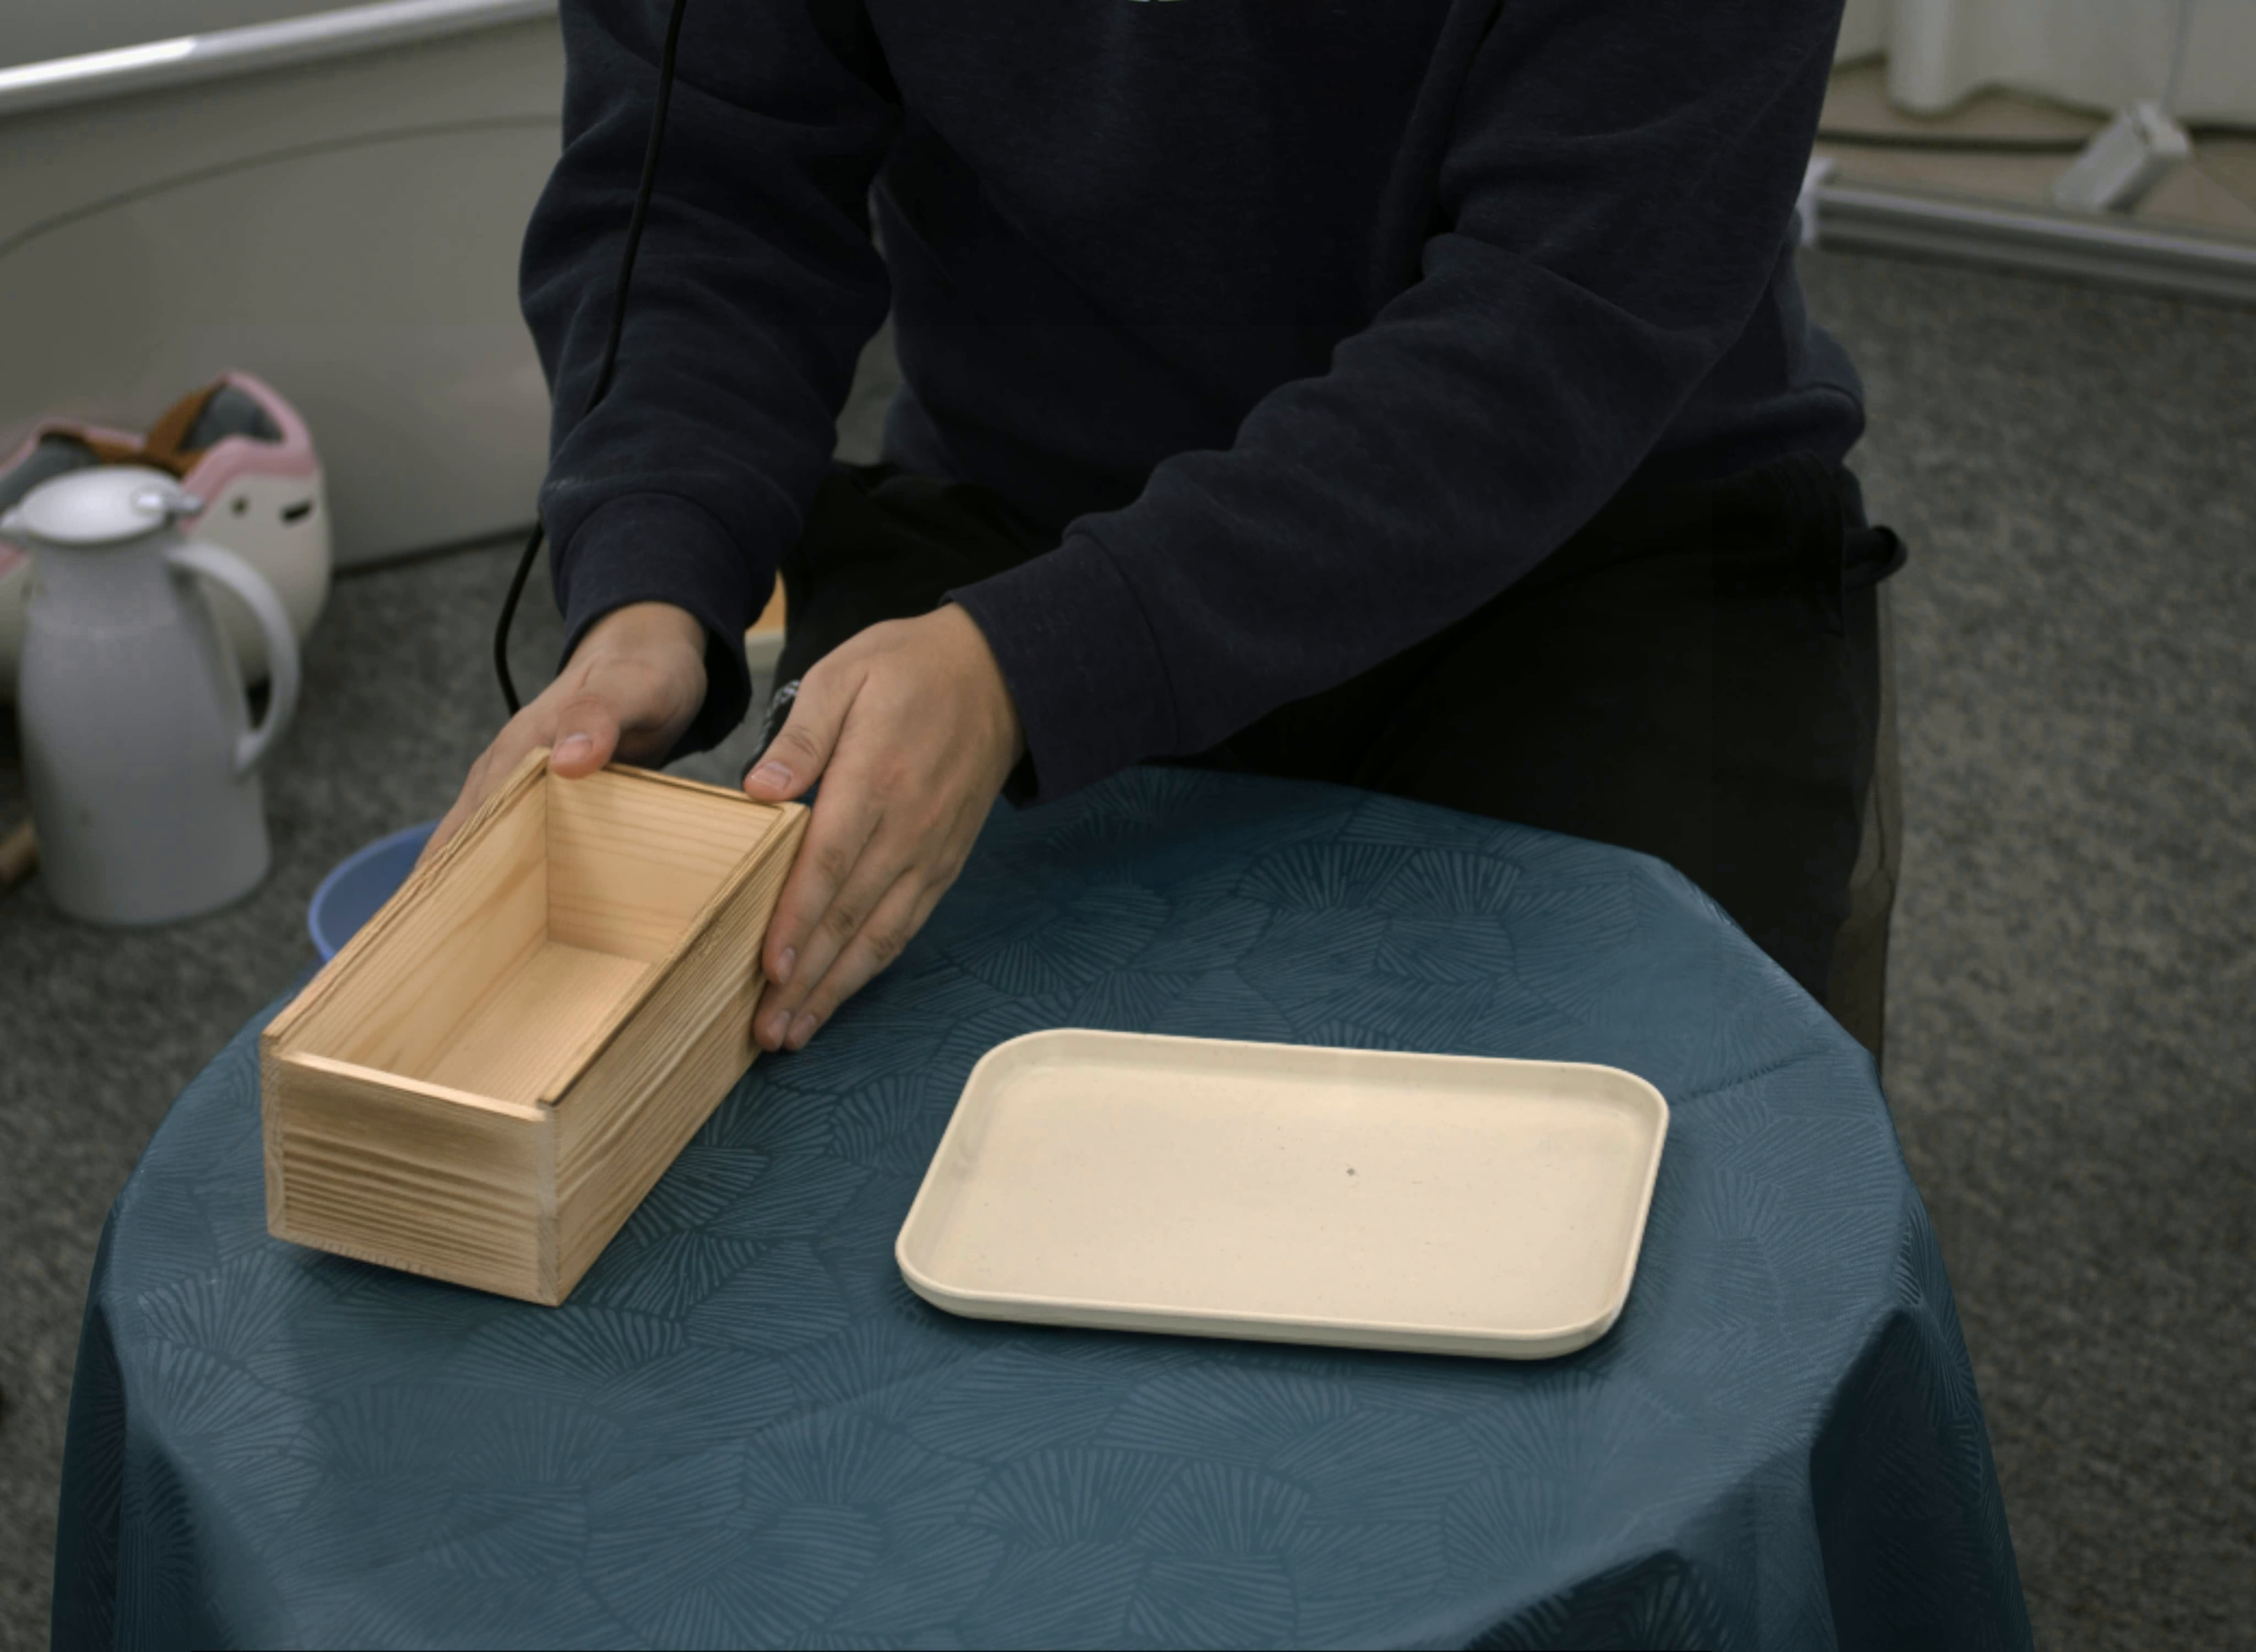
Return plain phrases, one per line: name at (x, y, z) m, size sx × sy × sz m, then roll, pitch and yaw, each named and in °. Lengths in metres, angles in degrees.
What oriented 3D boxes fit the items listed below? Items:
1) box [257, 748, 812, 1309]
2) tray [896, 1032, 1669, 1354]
box at (-0.196, 0.065, 1.897) m, size 0.107 × 0.079 × 0.215 m, roll 12°, pitch 30°, yaw 16°
tray at (0.053, 0.121, 1.843) m, size 0.238 × 0.017 × 0.174 m, roll 3°, pitch 27°, yaw 11°
